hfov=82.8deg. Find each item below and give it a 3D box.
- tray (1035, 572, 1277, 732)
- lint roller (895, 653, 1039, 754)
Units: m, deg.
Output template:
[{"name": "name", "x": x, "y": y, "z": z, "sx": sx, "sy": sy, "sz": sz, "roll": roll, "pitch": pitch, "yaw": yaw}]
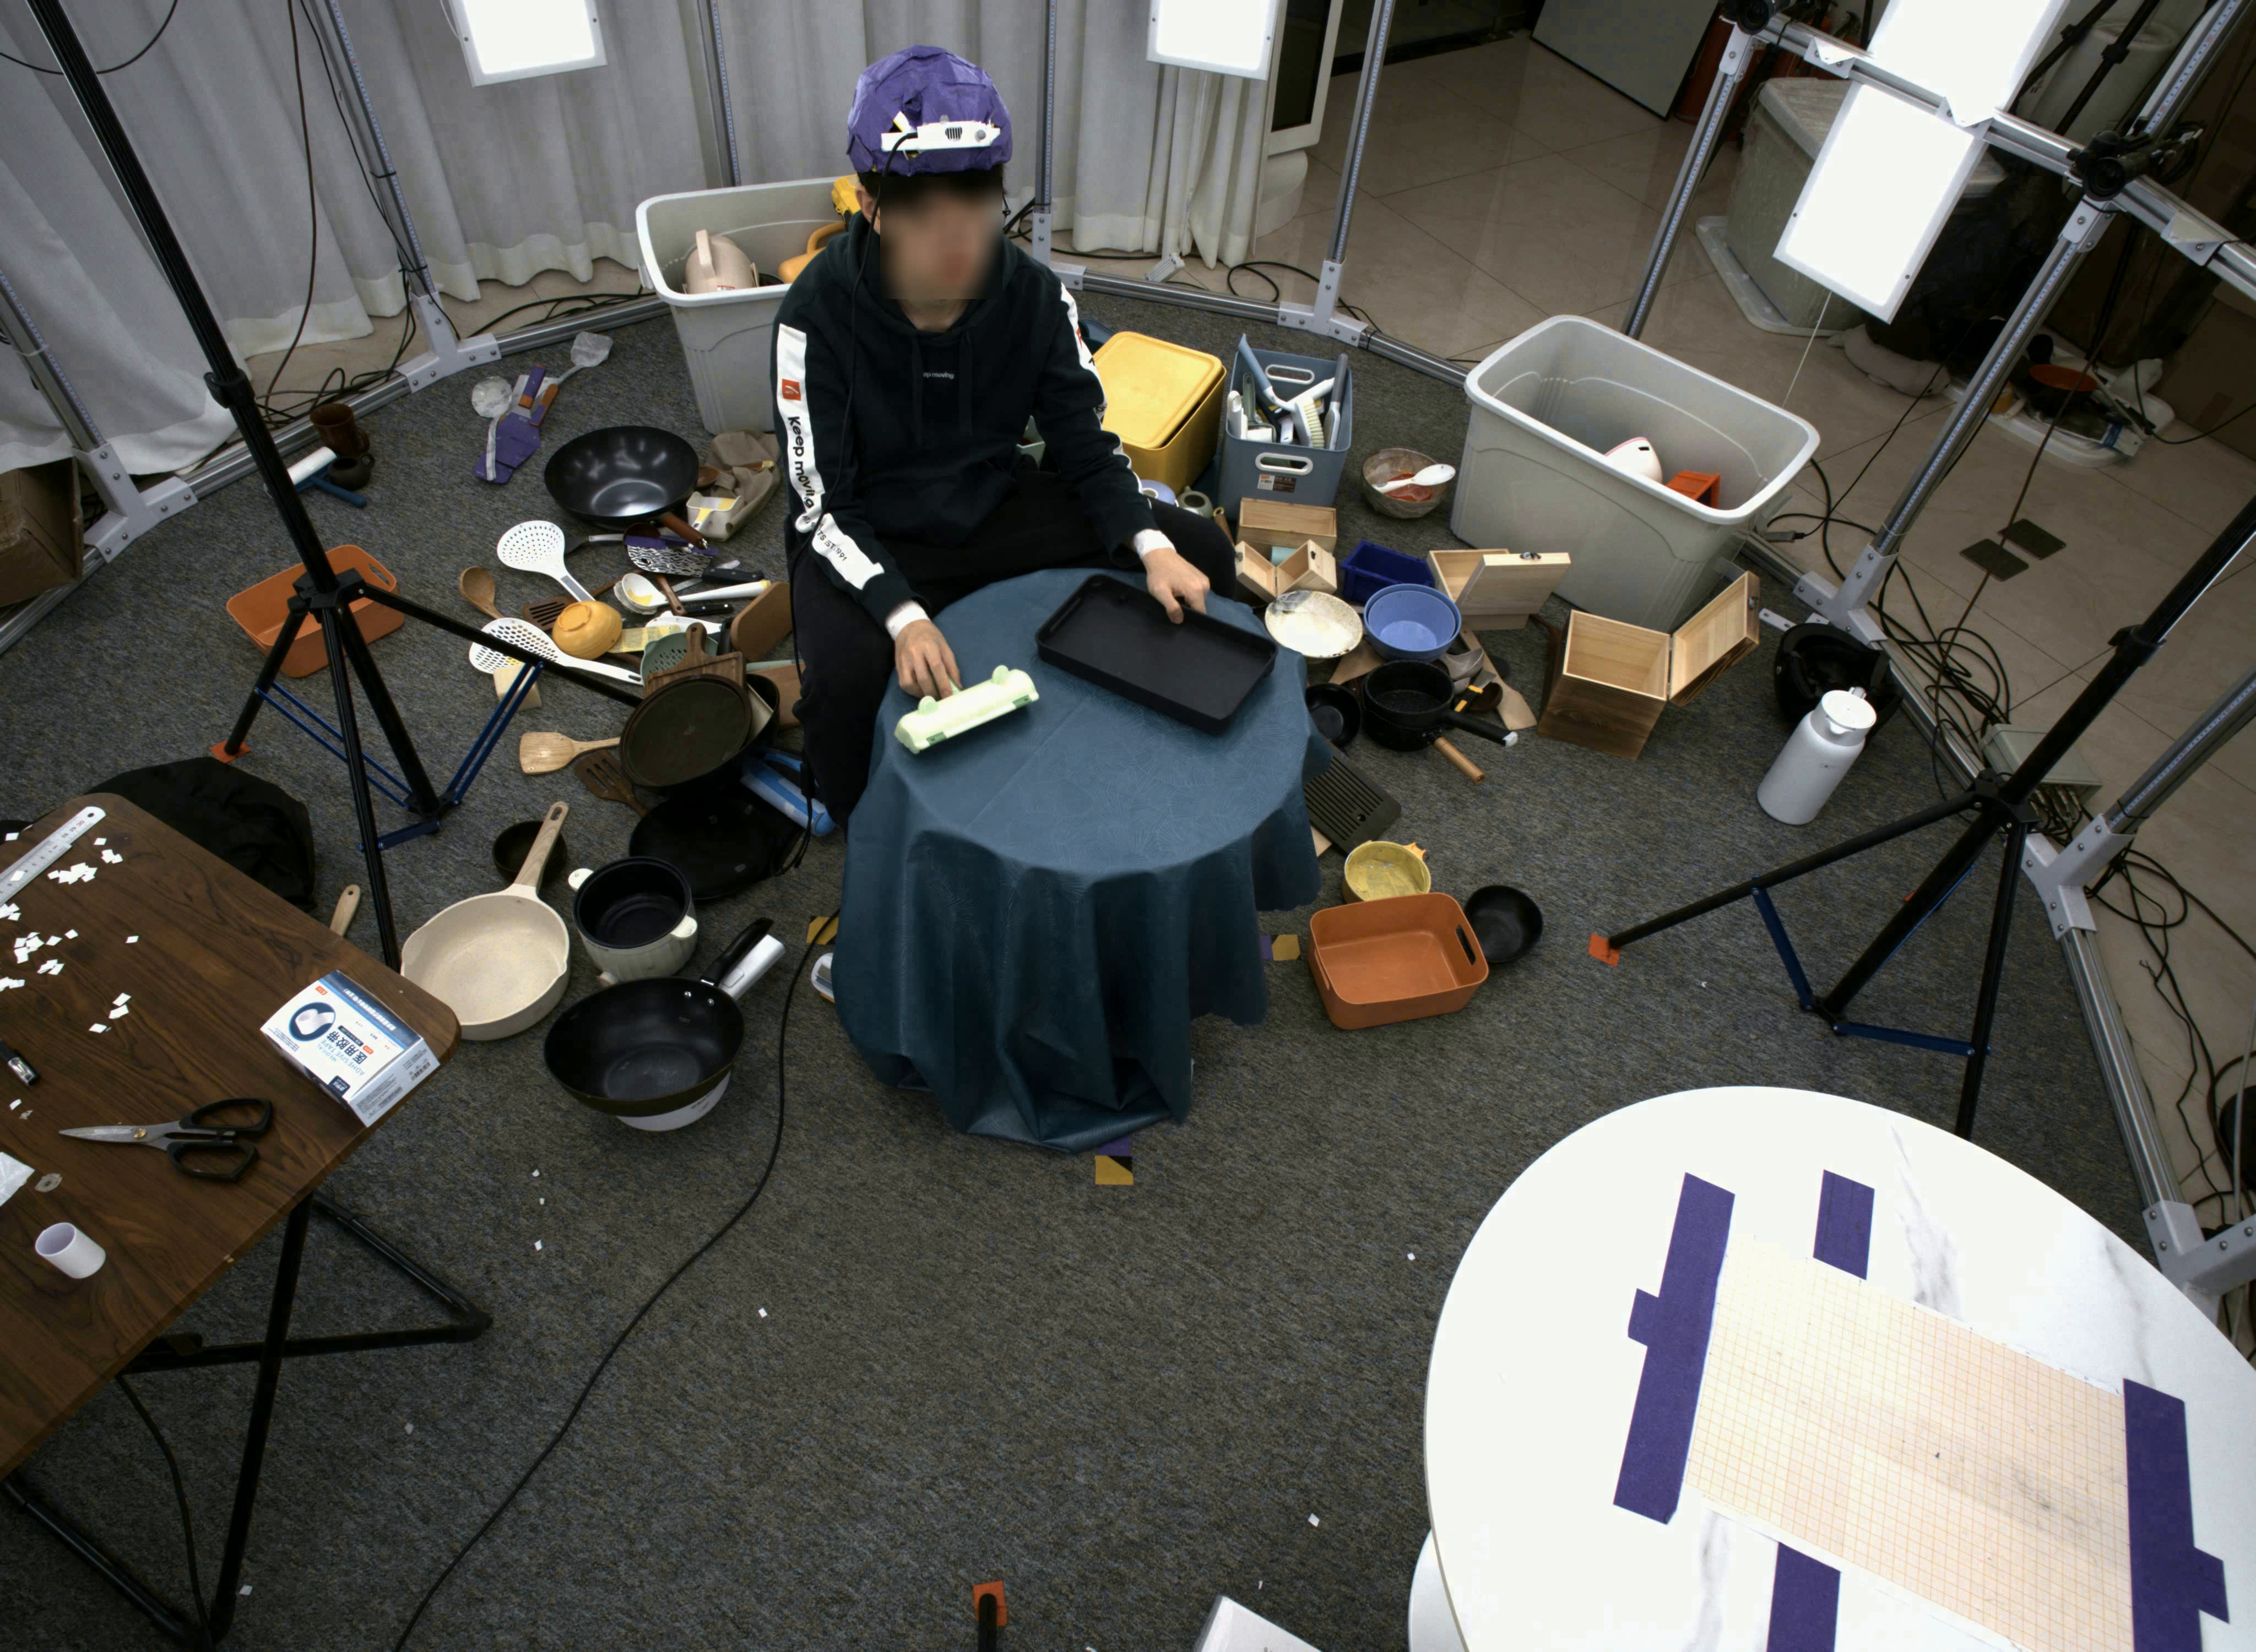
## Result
[{"name": "tray", "x": 0.040, "y": -0.256, "z": 1.858, "sx": 0.321, "sy": 0.036, "sz": 0.187, "roll": 25, "pitch": 54, "yaw": 20}, {"name": "lint roller", "x": -0.250, "y": -0.199, "z": 1.771, "sx": 0.199, "sy": 0.080, "sz": 0.187, "roll": -26, "pitch": 58, "yaw": -25}]
